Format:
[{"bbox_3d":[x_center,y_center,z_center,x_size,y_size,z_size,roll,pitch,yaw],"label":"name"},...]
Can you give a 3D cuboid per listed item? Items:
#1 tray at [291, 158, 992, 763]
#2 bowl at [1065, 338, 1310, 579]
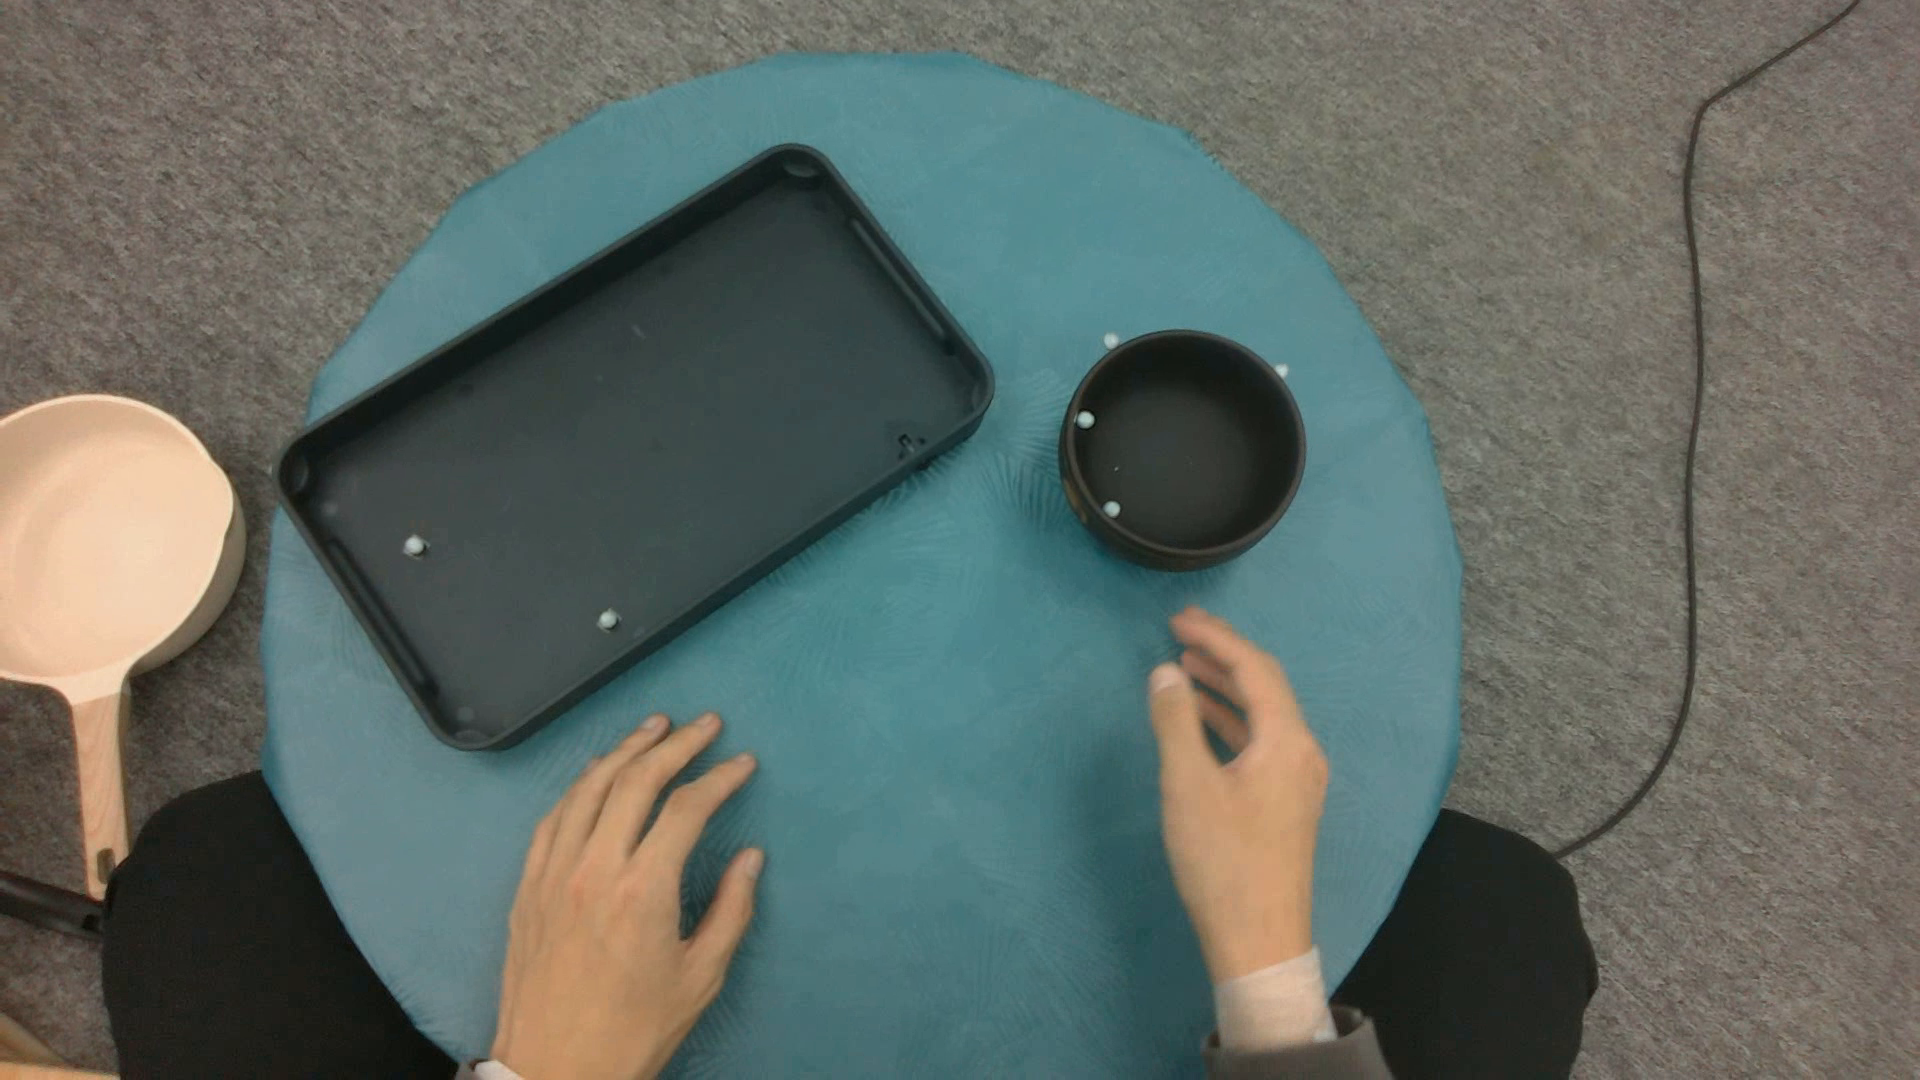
[{"bbox_3d":[-0.155,-0.046,0.703,0.318,0.037,0.184,-37,80,-12],"label":"tray"},{"bbox_3d":[0.110,-0.036,0.694,0.118,0.069,0.118,1,76,-3],"label":"bowl"}]
